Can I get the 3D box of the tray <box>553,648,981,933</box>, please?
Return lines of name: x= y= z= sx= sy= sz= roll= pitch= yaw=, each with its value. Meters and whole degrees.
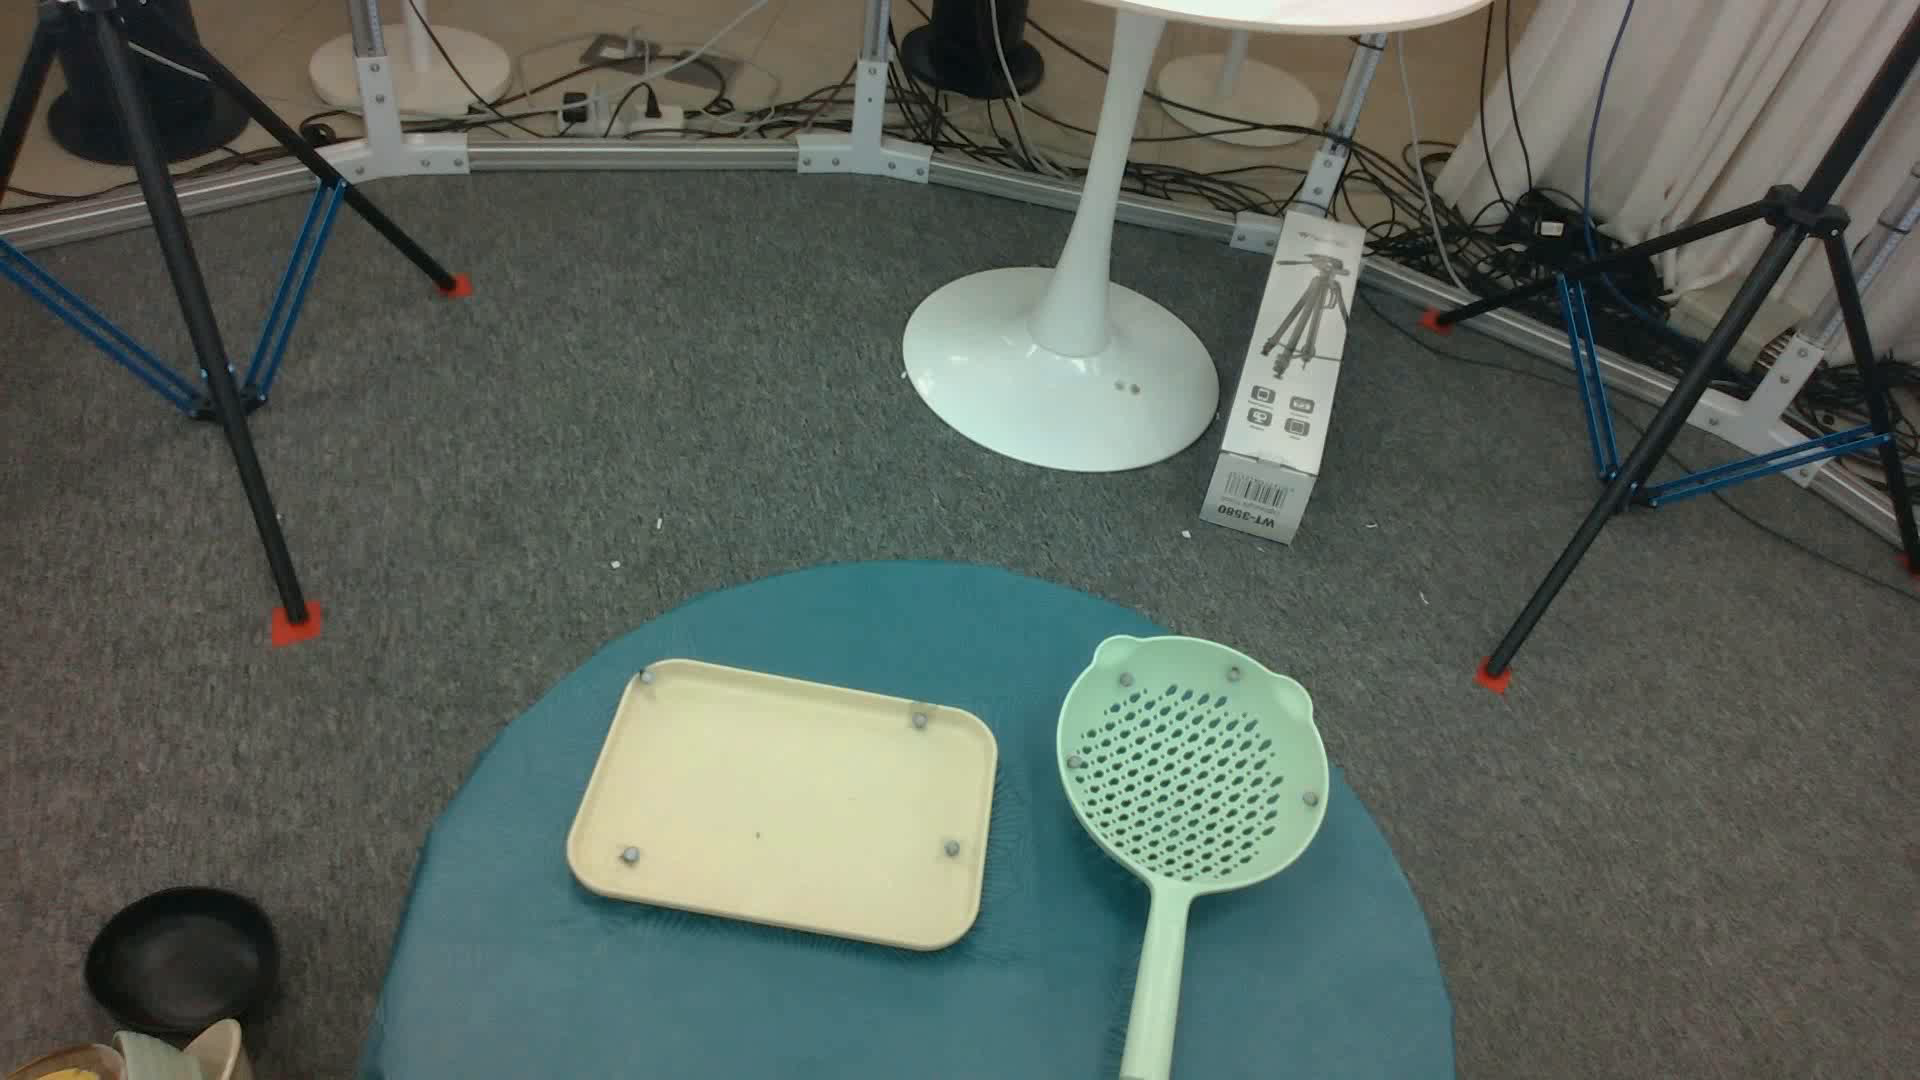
tray: x=-0.110 y=0.149 z=0.834 sx=0.240 sy=0.017 sz=0.172 roll=10 pitch=45 yaw=-2

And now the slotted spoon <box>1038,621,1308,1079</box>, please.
slotted spoon: x=0.107 y=0.205 z=0.795 sx=0.169 sy=0.075 sz=0.361 roll=15 pitch=45 yaw=3
